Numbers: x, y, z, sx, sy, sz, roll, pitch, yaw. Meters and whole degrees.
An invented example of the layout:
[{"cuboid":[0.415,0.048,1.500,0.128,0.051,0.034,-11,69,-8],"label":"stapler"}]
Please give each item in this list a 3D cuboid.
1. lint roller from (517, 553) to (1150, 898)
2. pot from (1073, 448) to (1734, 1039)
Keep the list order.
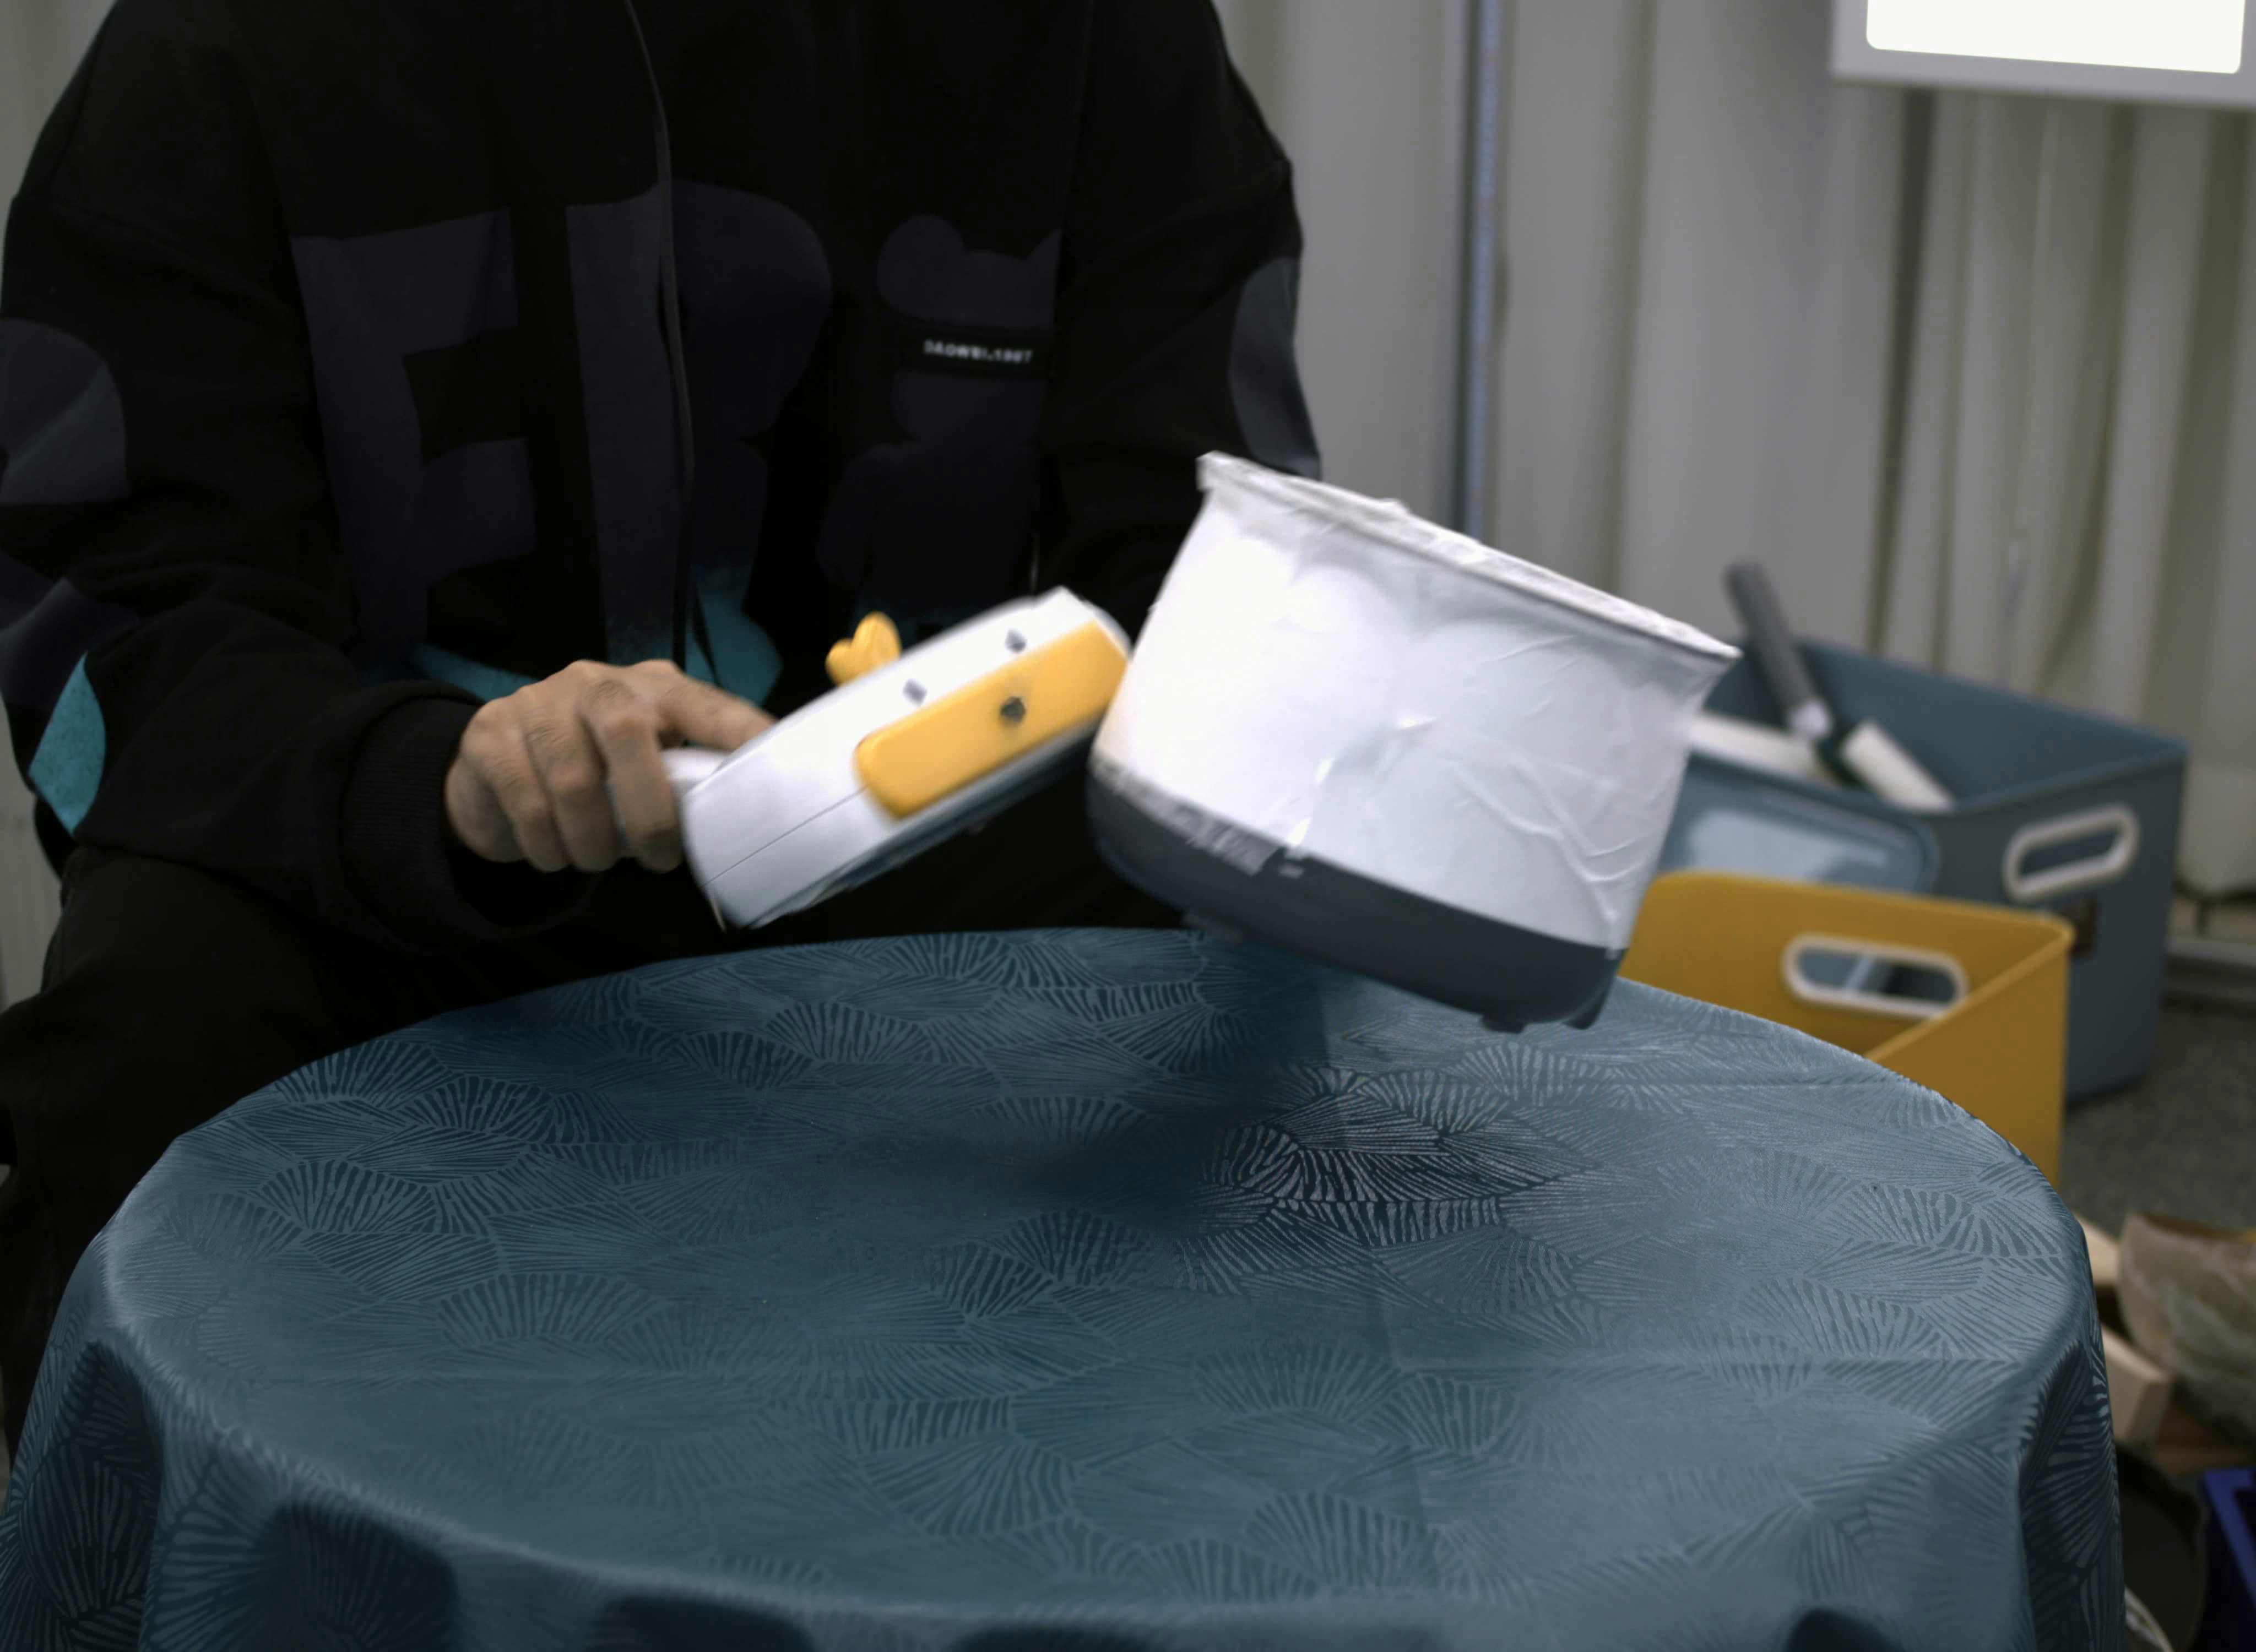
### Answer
[{"cuboid":[-0.107,-0.019,1.652,0.191,0.074,0.193,-22,11,32],"label":"lint roller"},{"cuboid":[0.075,-0.030,1.645,0.179,0.137,0.232,20,7,-16],"label":"pot"}]
